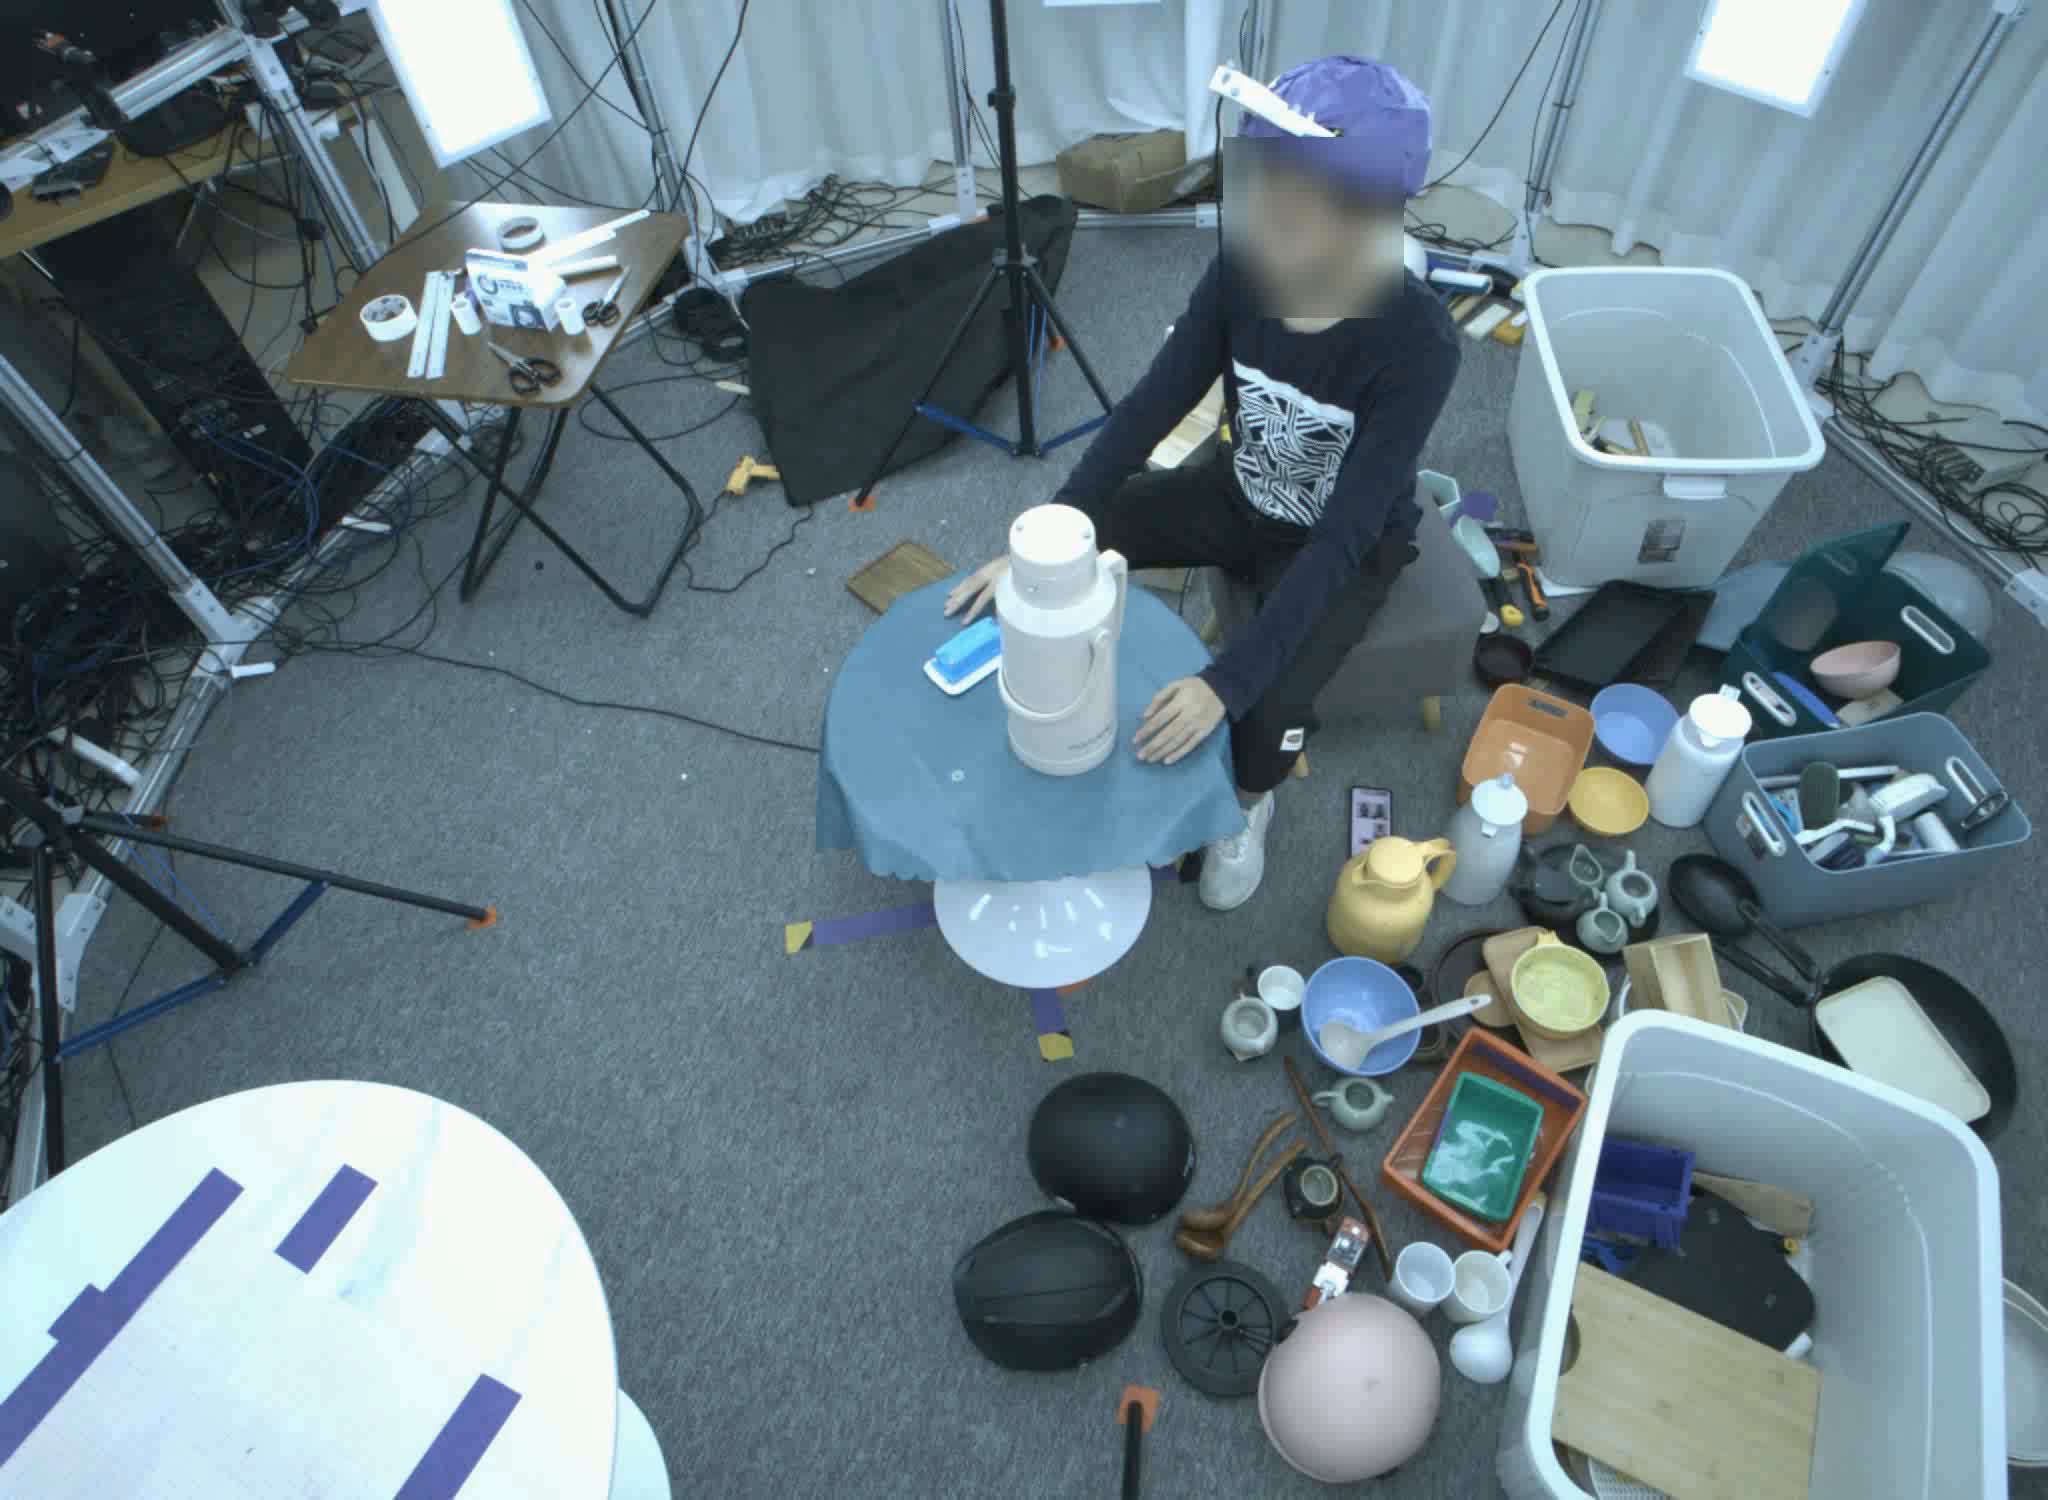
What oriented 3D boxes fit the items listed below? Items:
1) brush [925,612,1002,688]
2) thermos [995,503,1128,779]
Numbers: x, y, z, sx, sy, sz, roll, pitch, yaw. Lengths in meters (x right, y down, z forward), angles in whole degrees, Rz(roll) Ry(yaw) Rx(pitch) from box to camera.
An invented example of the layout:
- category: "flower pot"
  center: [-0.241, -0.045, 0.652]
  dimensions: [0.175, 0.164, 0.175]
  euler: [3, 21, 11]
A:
- category: "brush"
  center: [-0.078, -0.160, 1.858]
  dimensions: [0.145, 0.056, 0.082]
  euler: [-36, 63, -18]
- category: "thermos"
  center: [0.057, -0.148, 1.638]
  dimensions: [0.208, 0.411, 0.172]
  euler: [-38, 59, -22]
